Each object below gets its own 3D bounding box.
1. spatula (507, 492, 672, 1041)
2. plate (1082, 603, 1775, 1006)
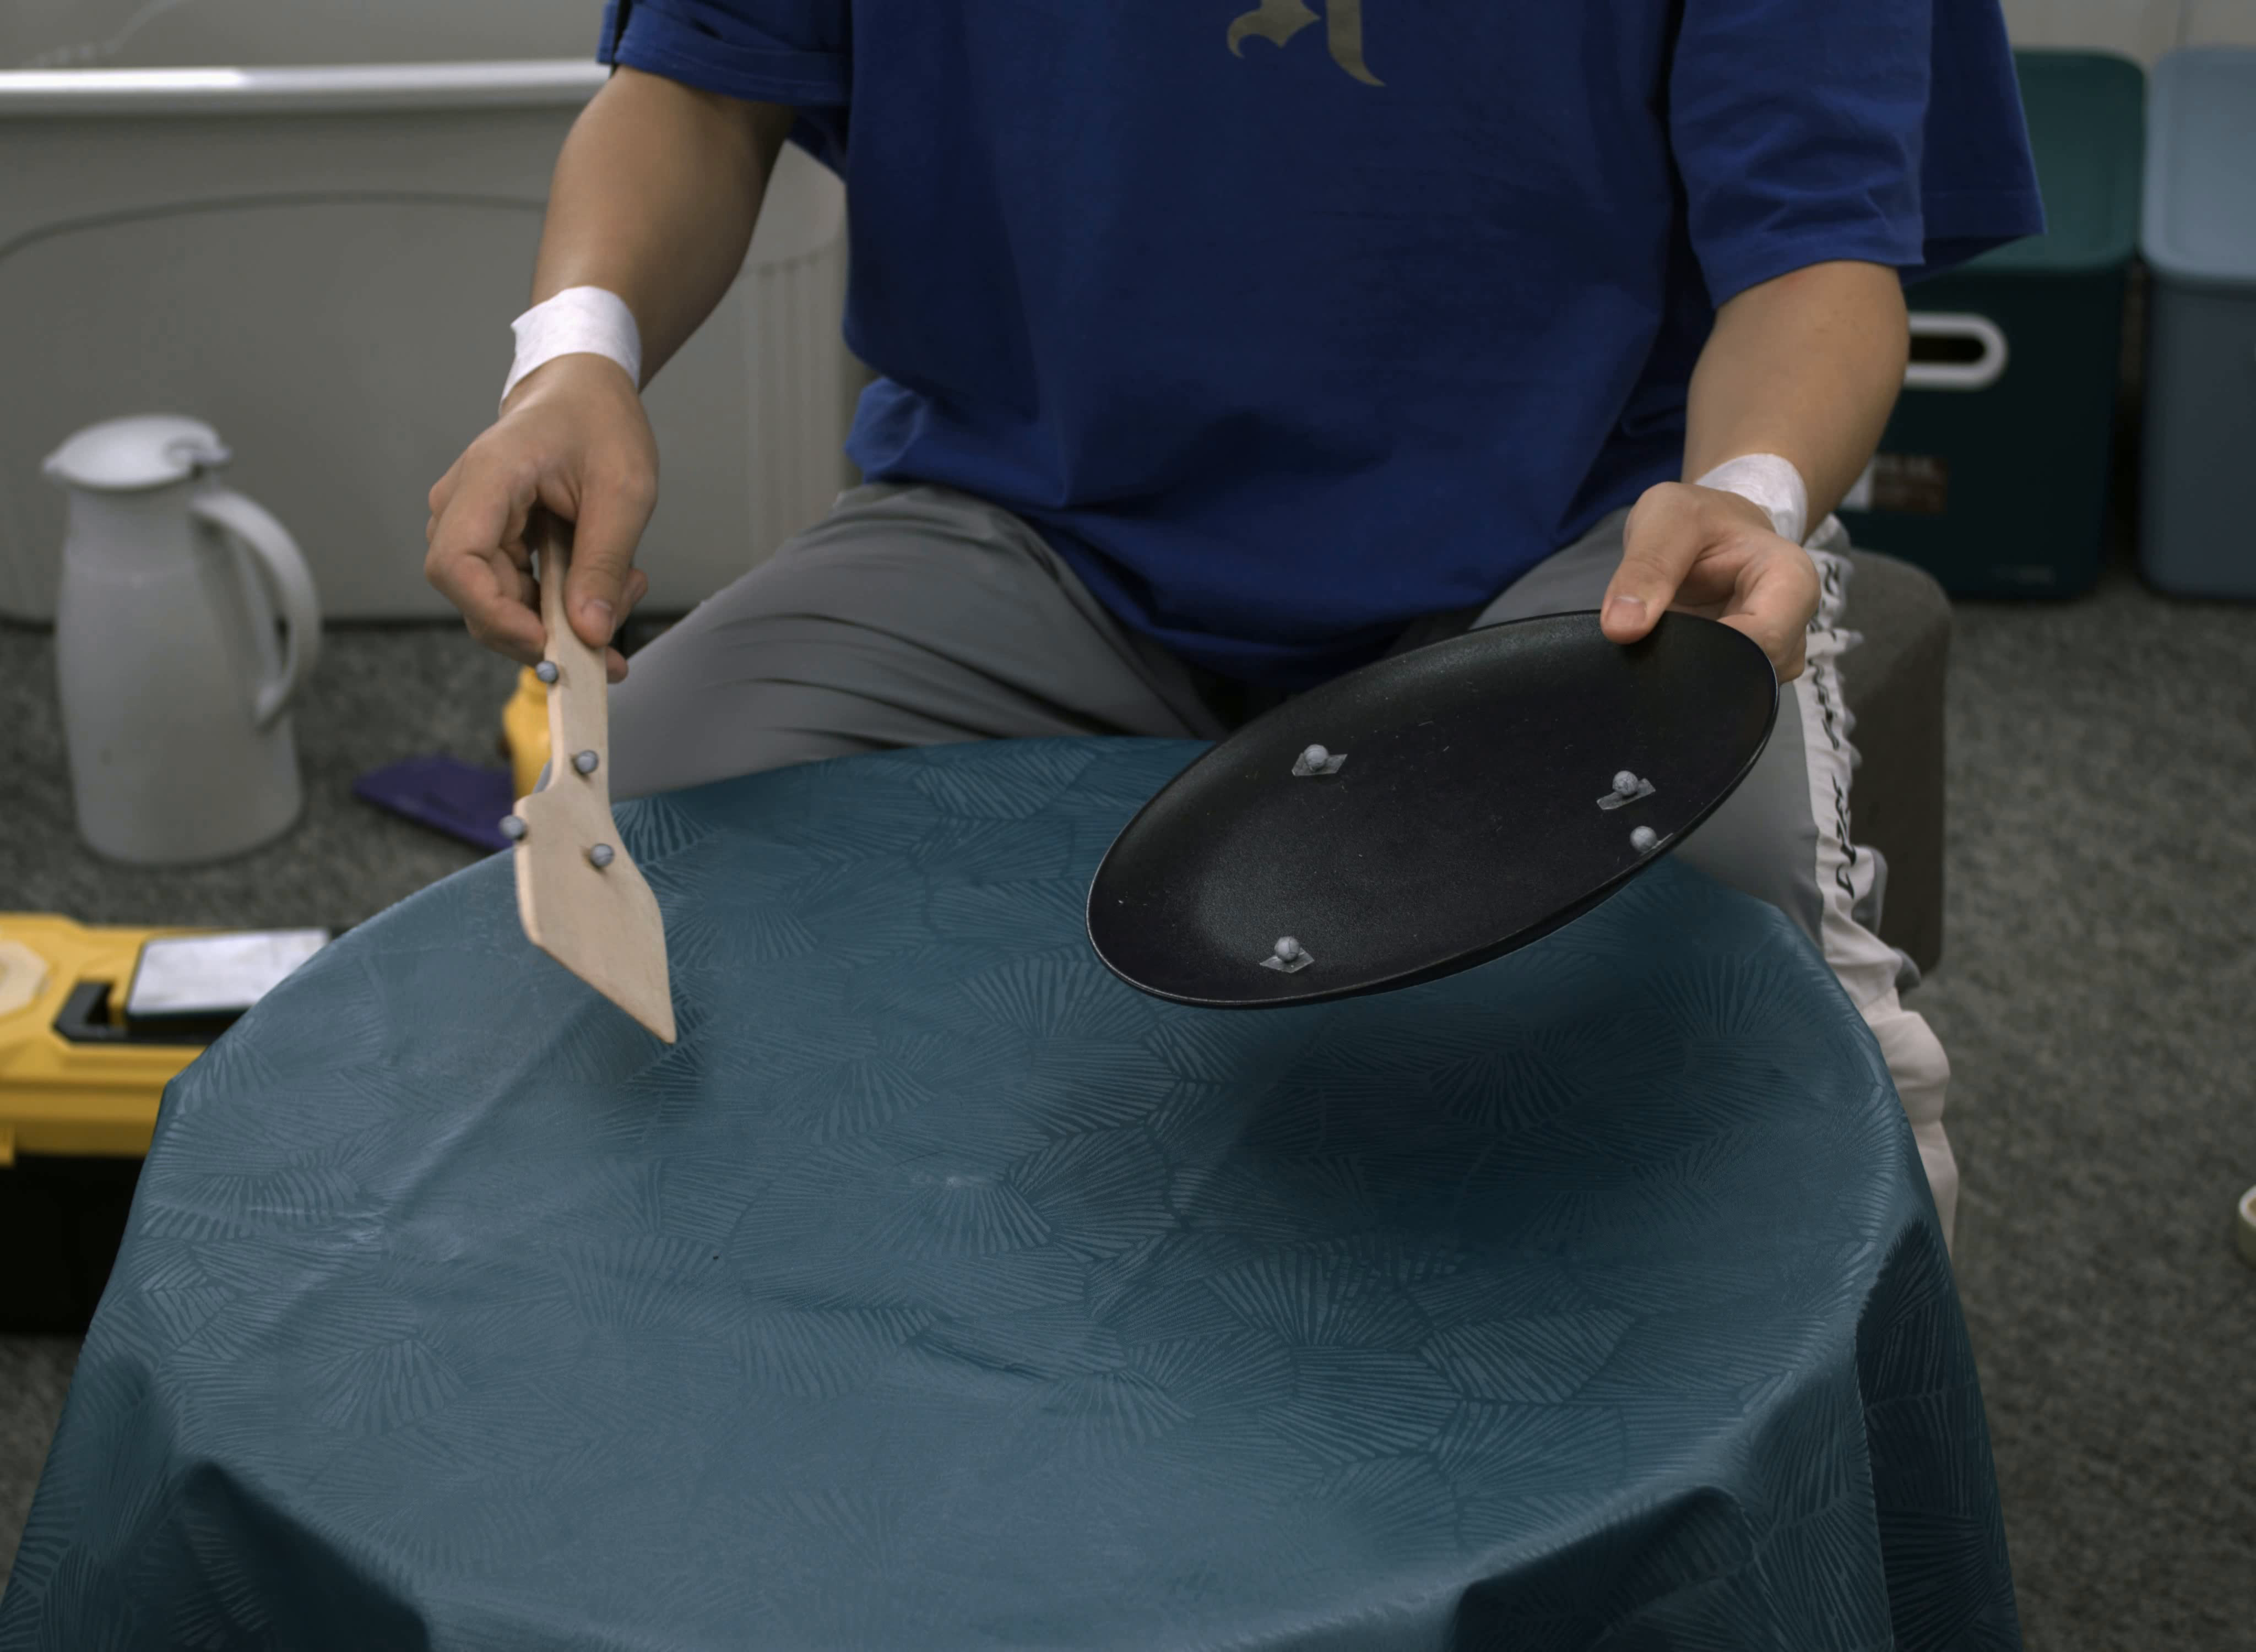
[{"bbox_3d":[-0.197,-0.032,2.022,0.010,0.072,0.298,-40,32,21],"label":"spatula"},{"bbox_3d":[0.101,-0.003,1.861,0.242,0.023,0.248,-19,24,9],"label":"plate"}]
